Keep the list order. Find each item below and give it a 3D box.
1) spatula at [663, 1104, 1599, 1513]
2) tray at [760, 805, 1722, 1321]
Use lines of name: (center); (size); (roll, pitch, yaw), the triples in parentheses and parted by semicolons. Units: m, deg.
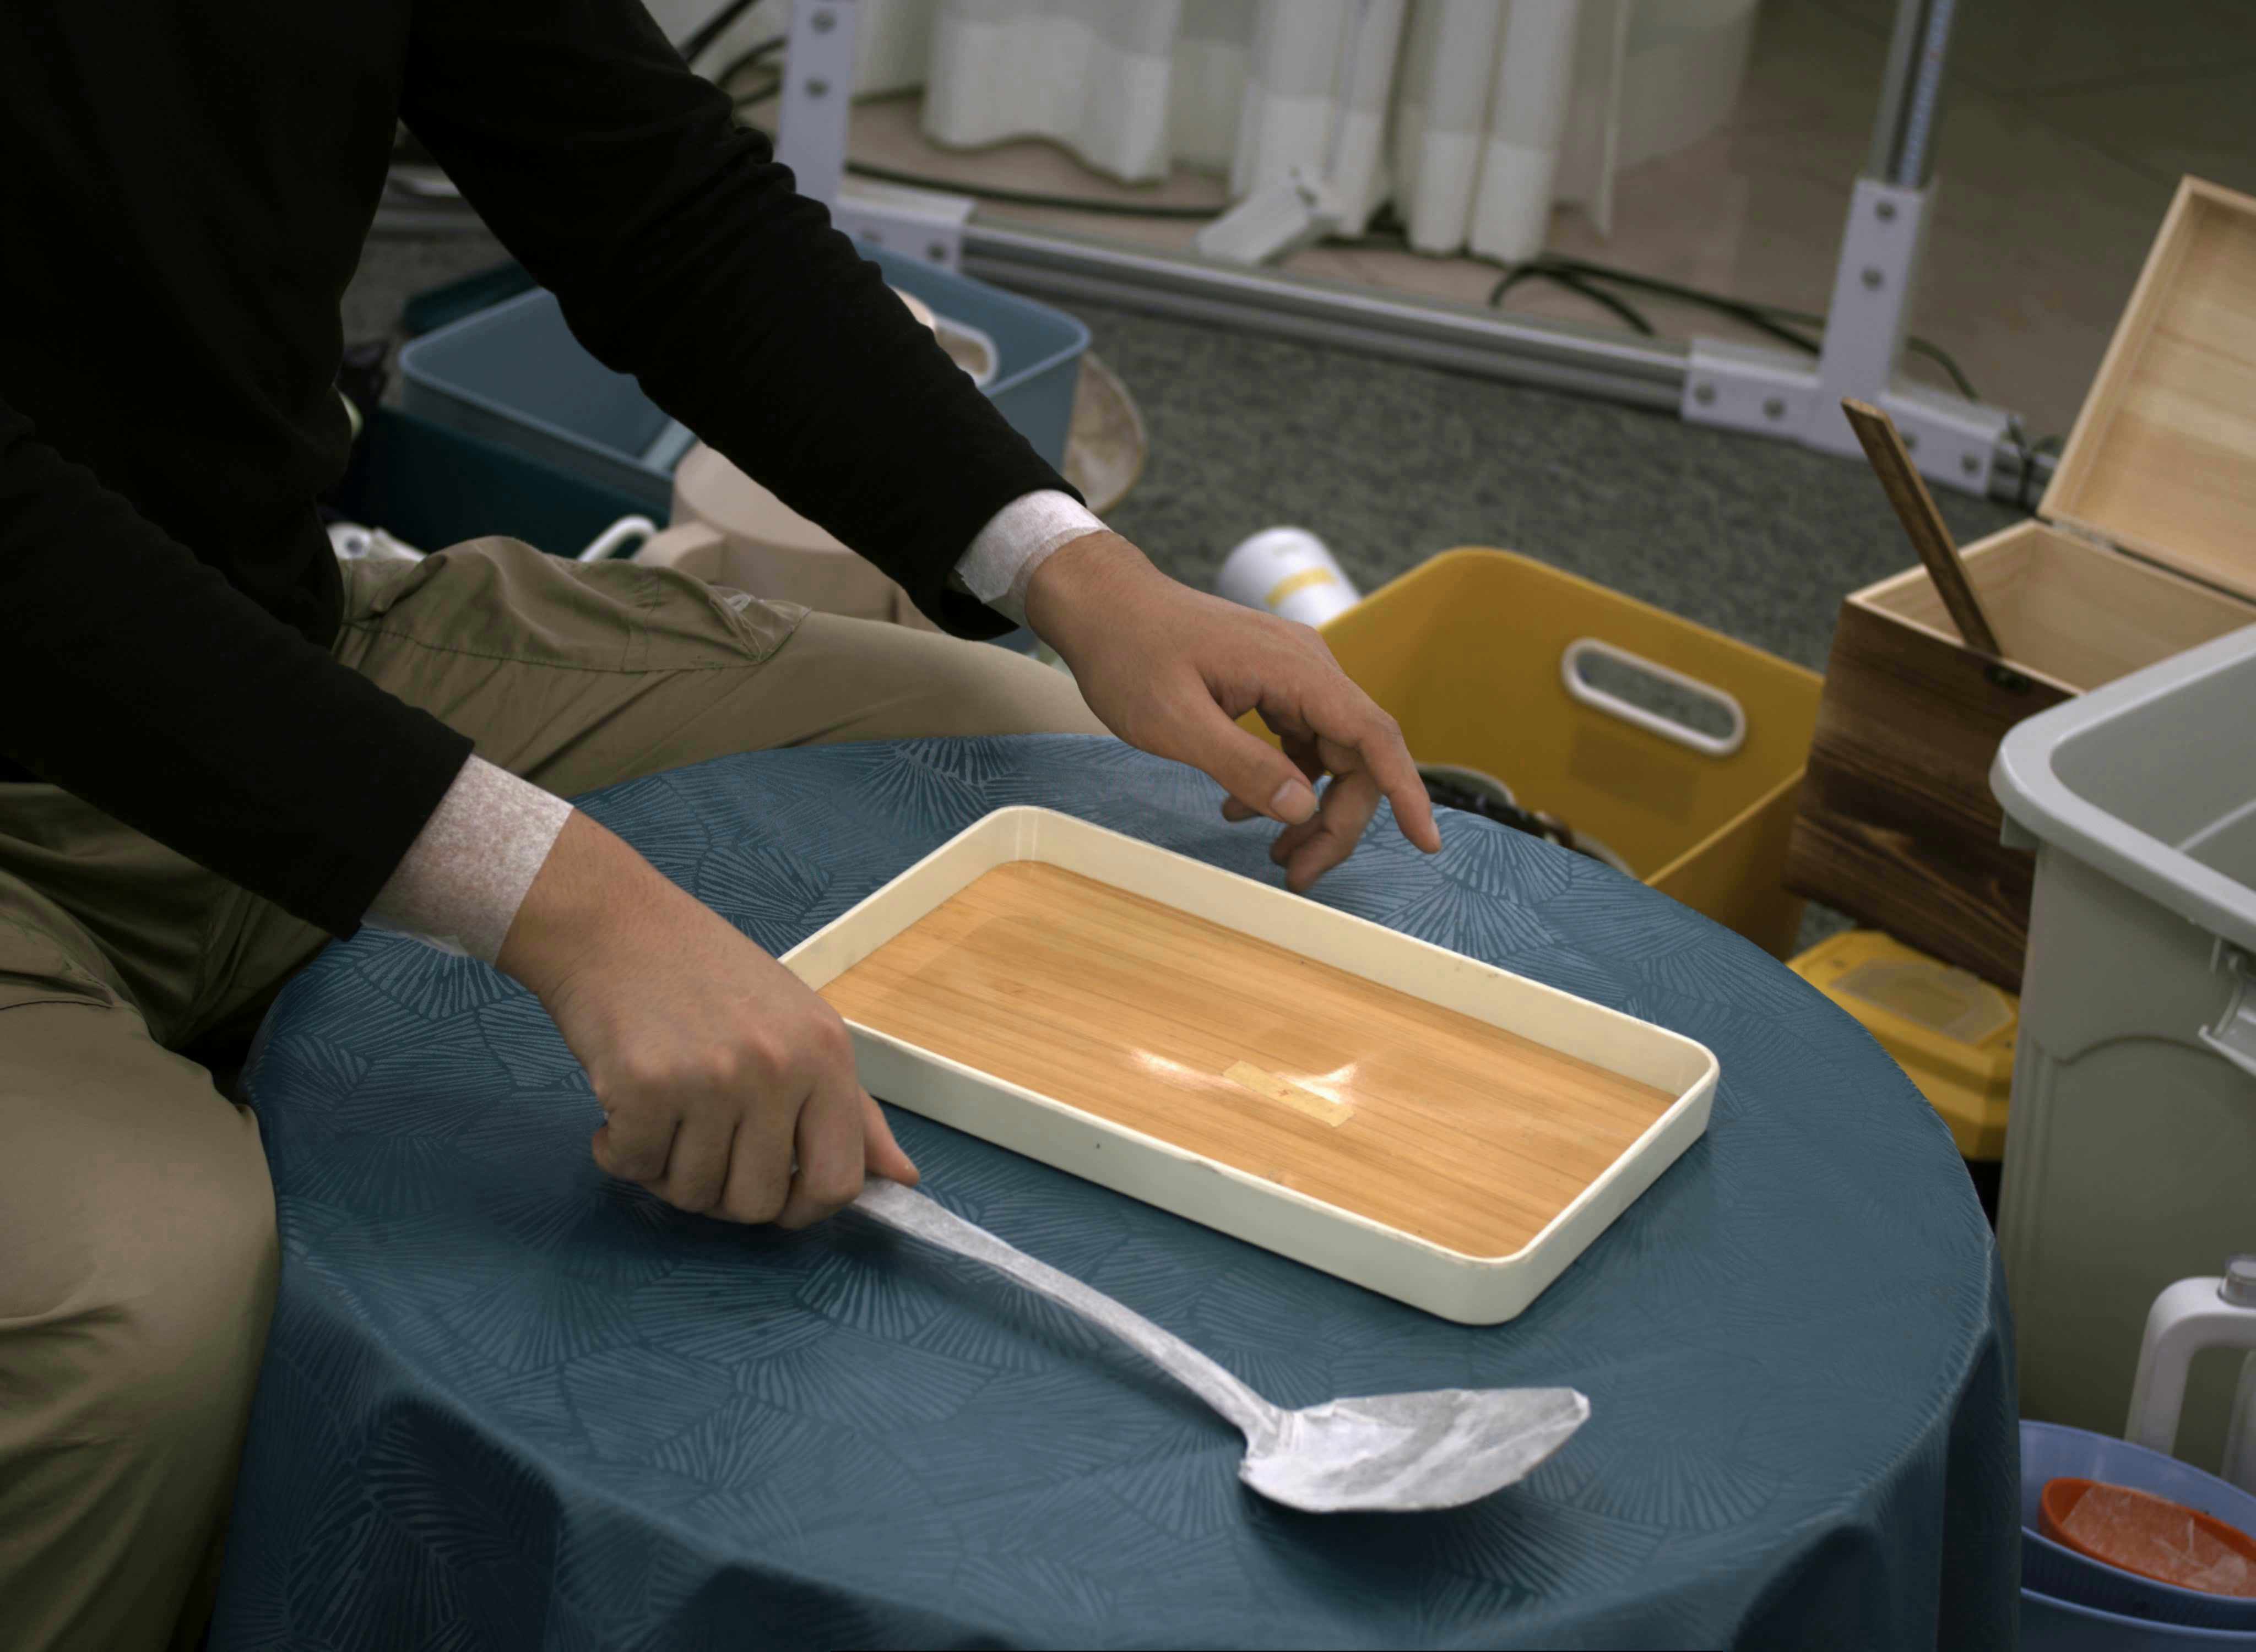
spatula: (-0.018, 0.146, 1.711); (0.367, 0.044, 0.098); (24, 32, 30)
tray: (0.040, 0.079, 1.869); (0.301, 0.027, 0.191); (20, 30, 24)
